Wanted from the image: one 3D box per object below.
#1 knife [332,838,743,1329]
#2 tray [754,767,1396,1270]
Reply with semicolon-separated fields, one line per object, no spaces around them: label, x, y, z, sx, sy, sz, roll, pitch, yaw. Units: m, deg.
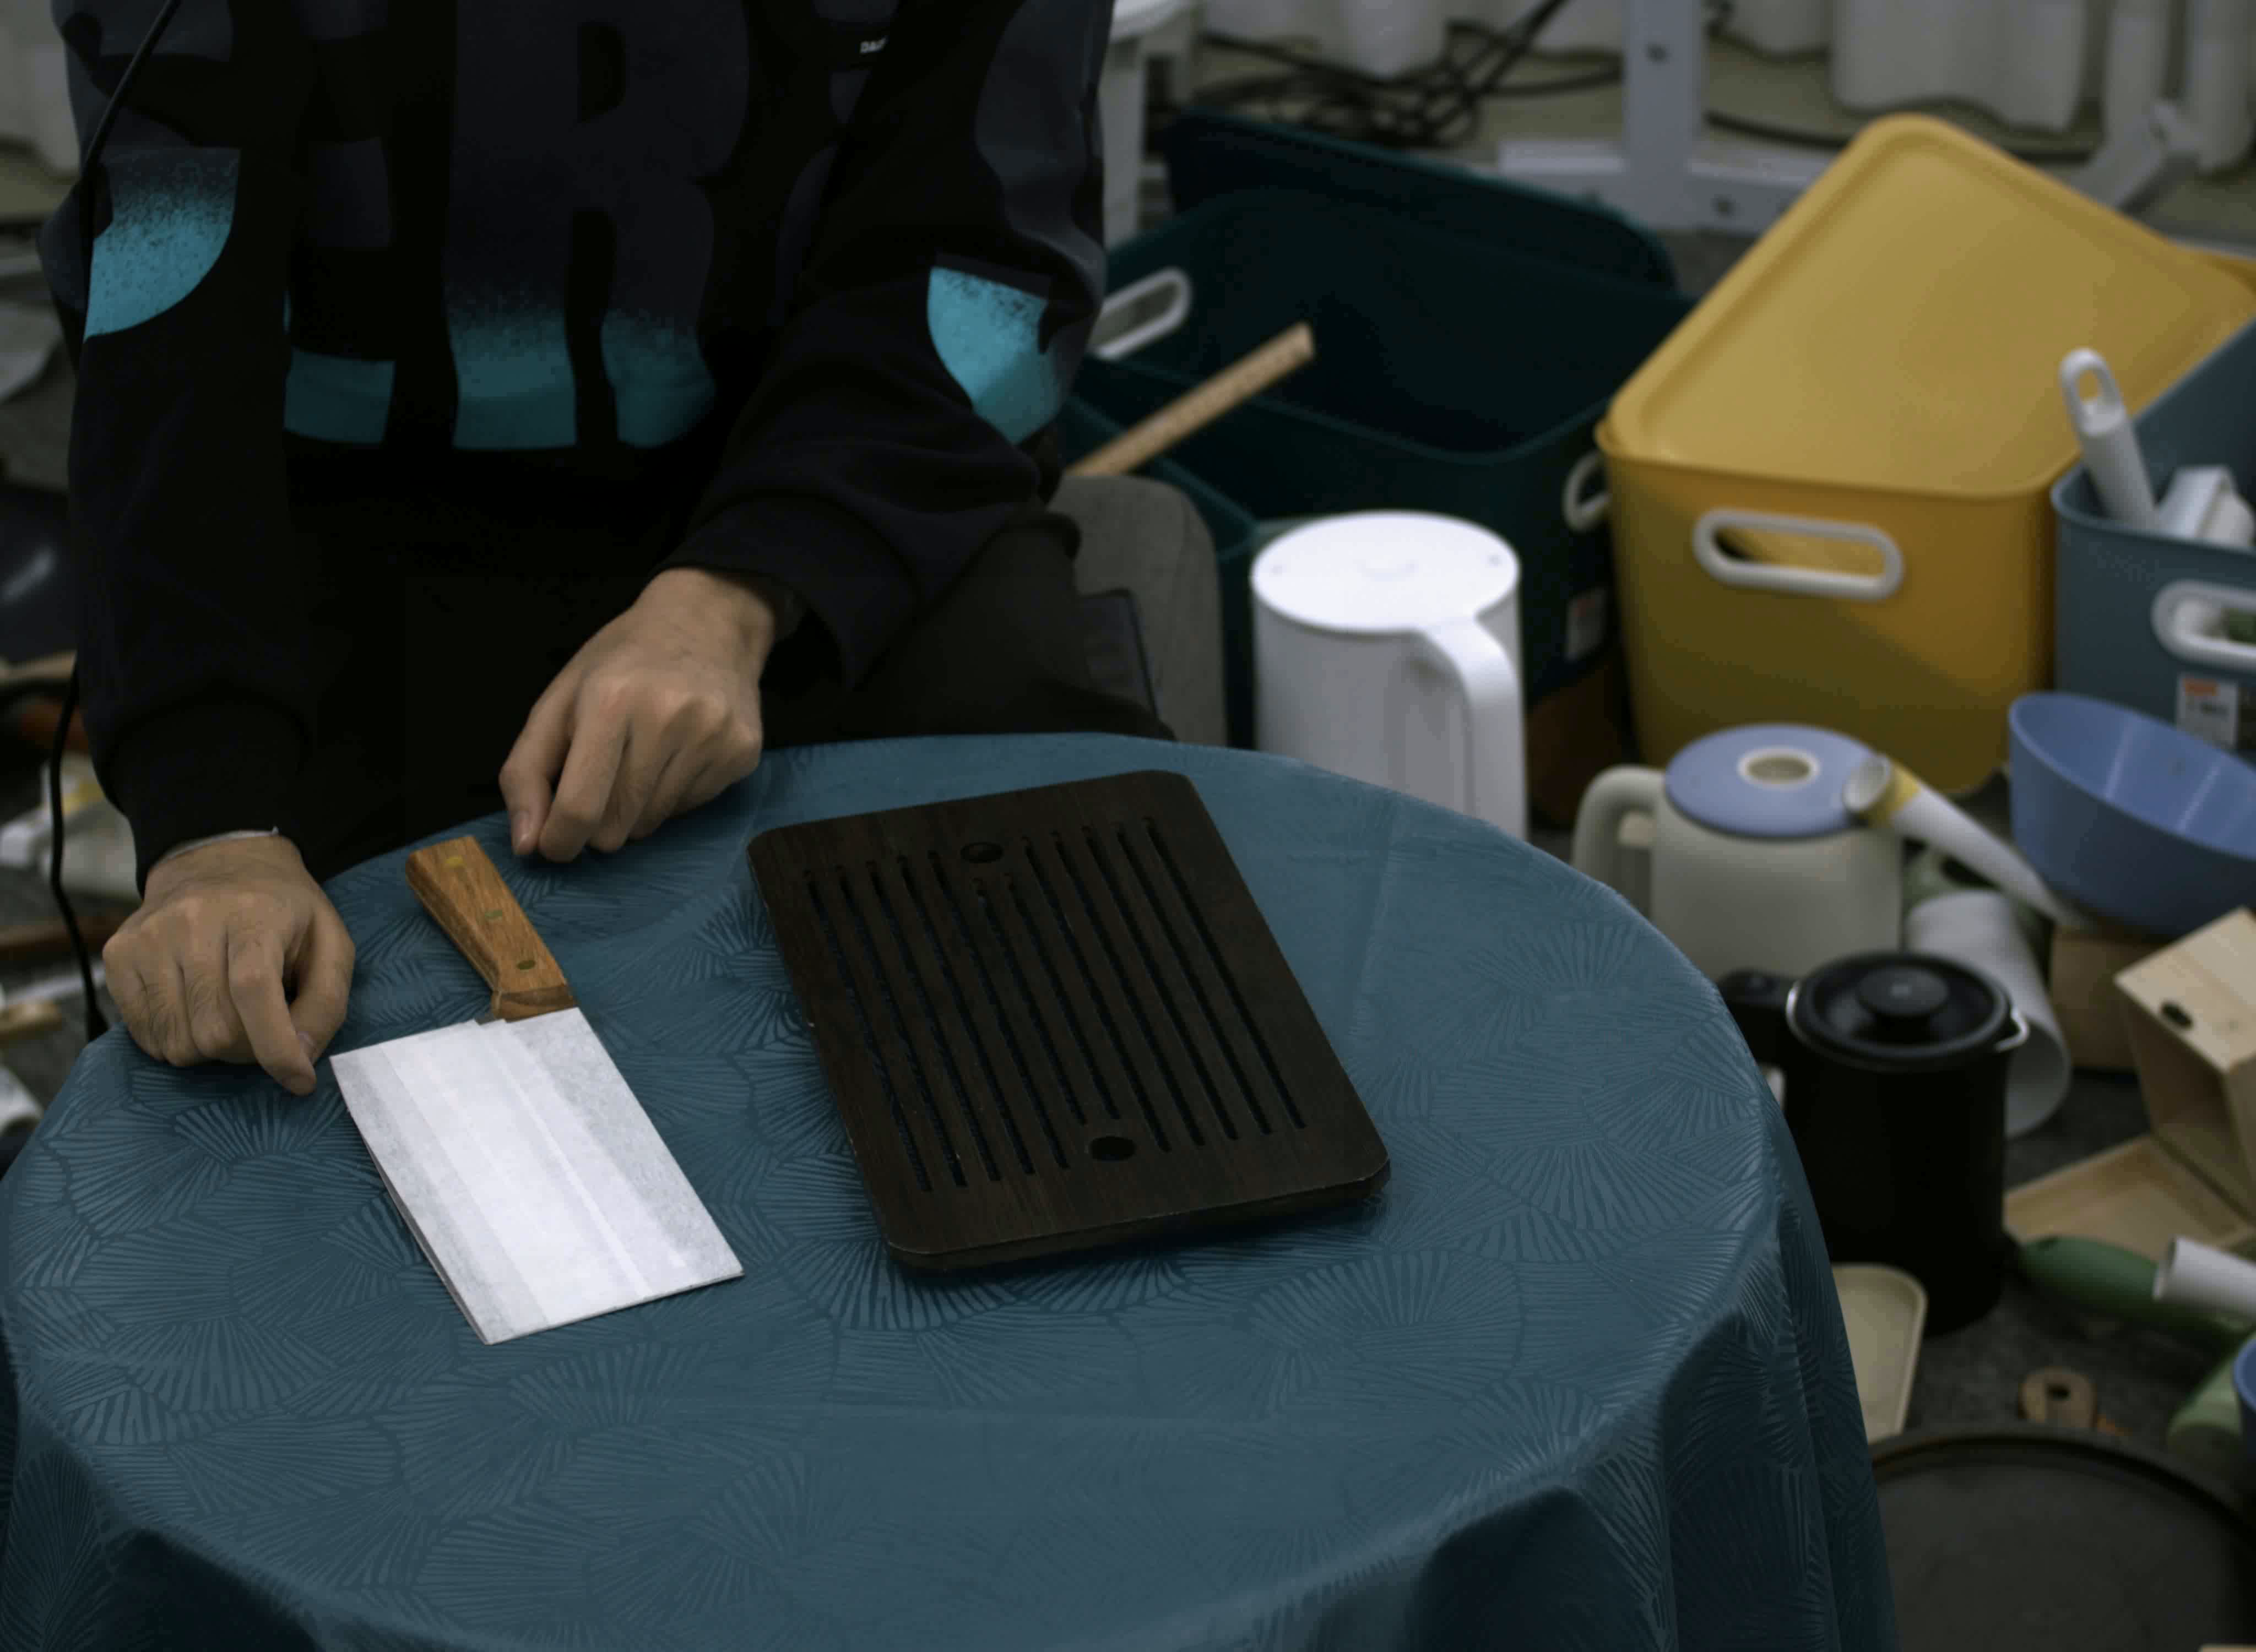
knife;-0.221;0.088;1.933;0.093;0.021;0.308;-14;32;-18
tray;-0.025;0.064;1.955;0.170;0.018;0.309;-9;28;-10
